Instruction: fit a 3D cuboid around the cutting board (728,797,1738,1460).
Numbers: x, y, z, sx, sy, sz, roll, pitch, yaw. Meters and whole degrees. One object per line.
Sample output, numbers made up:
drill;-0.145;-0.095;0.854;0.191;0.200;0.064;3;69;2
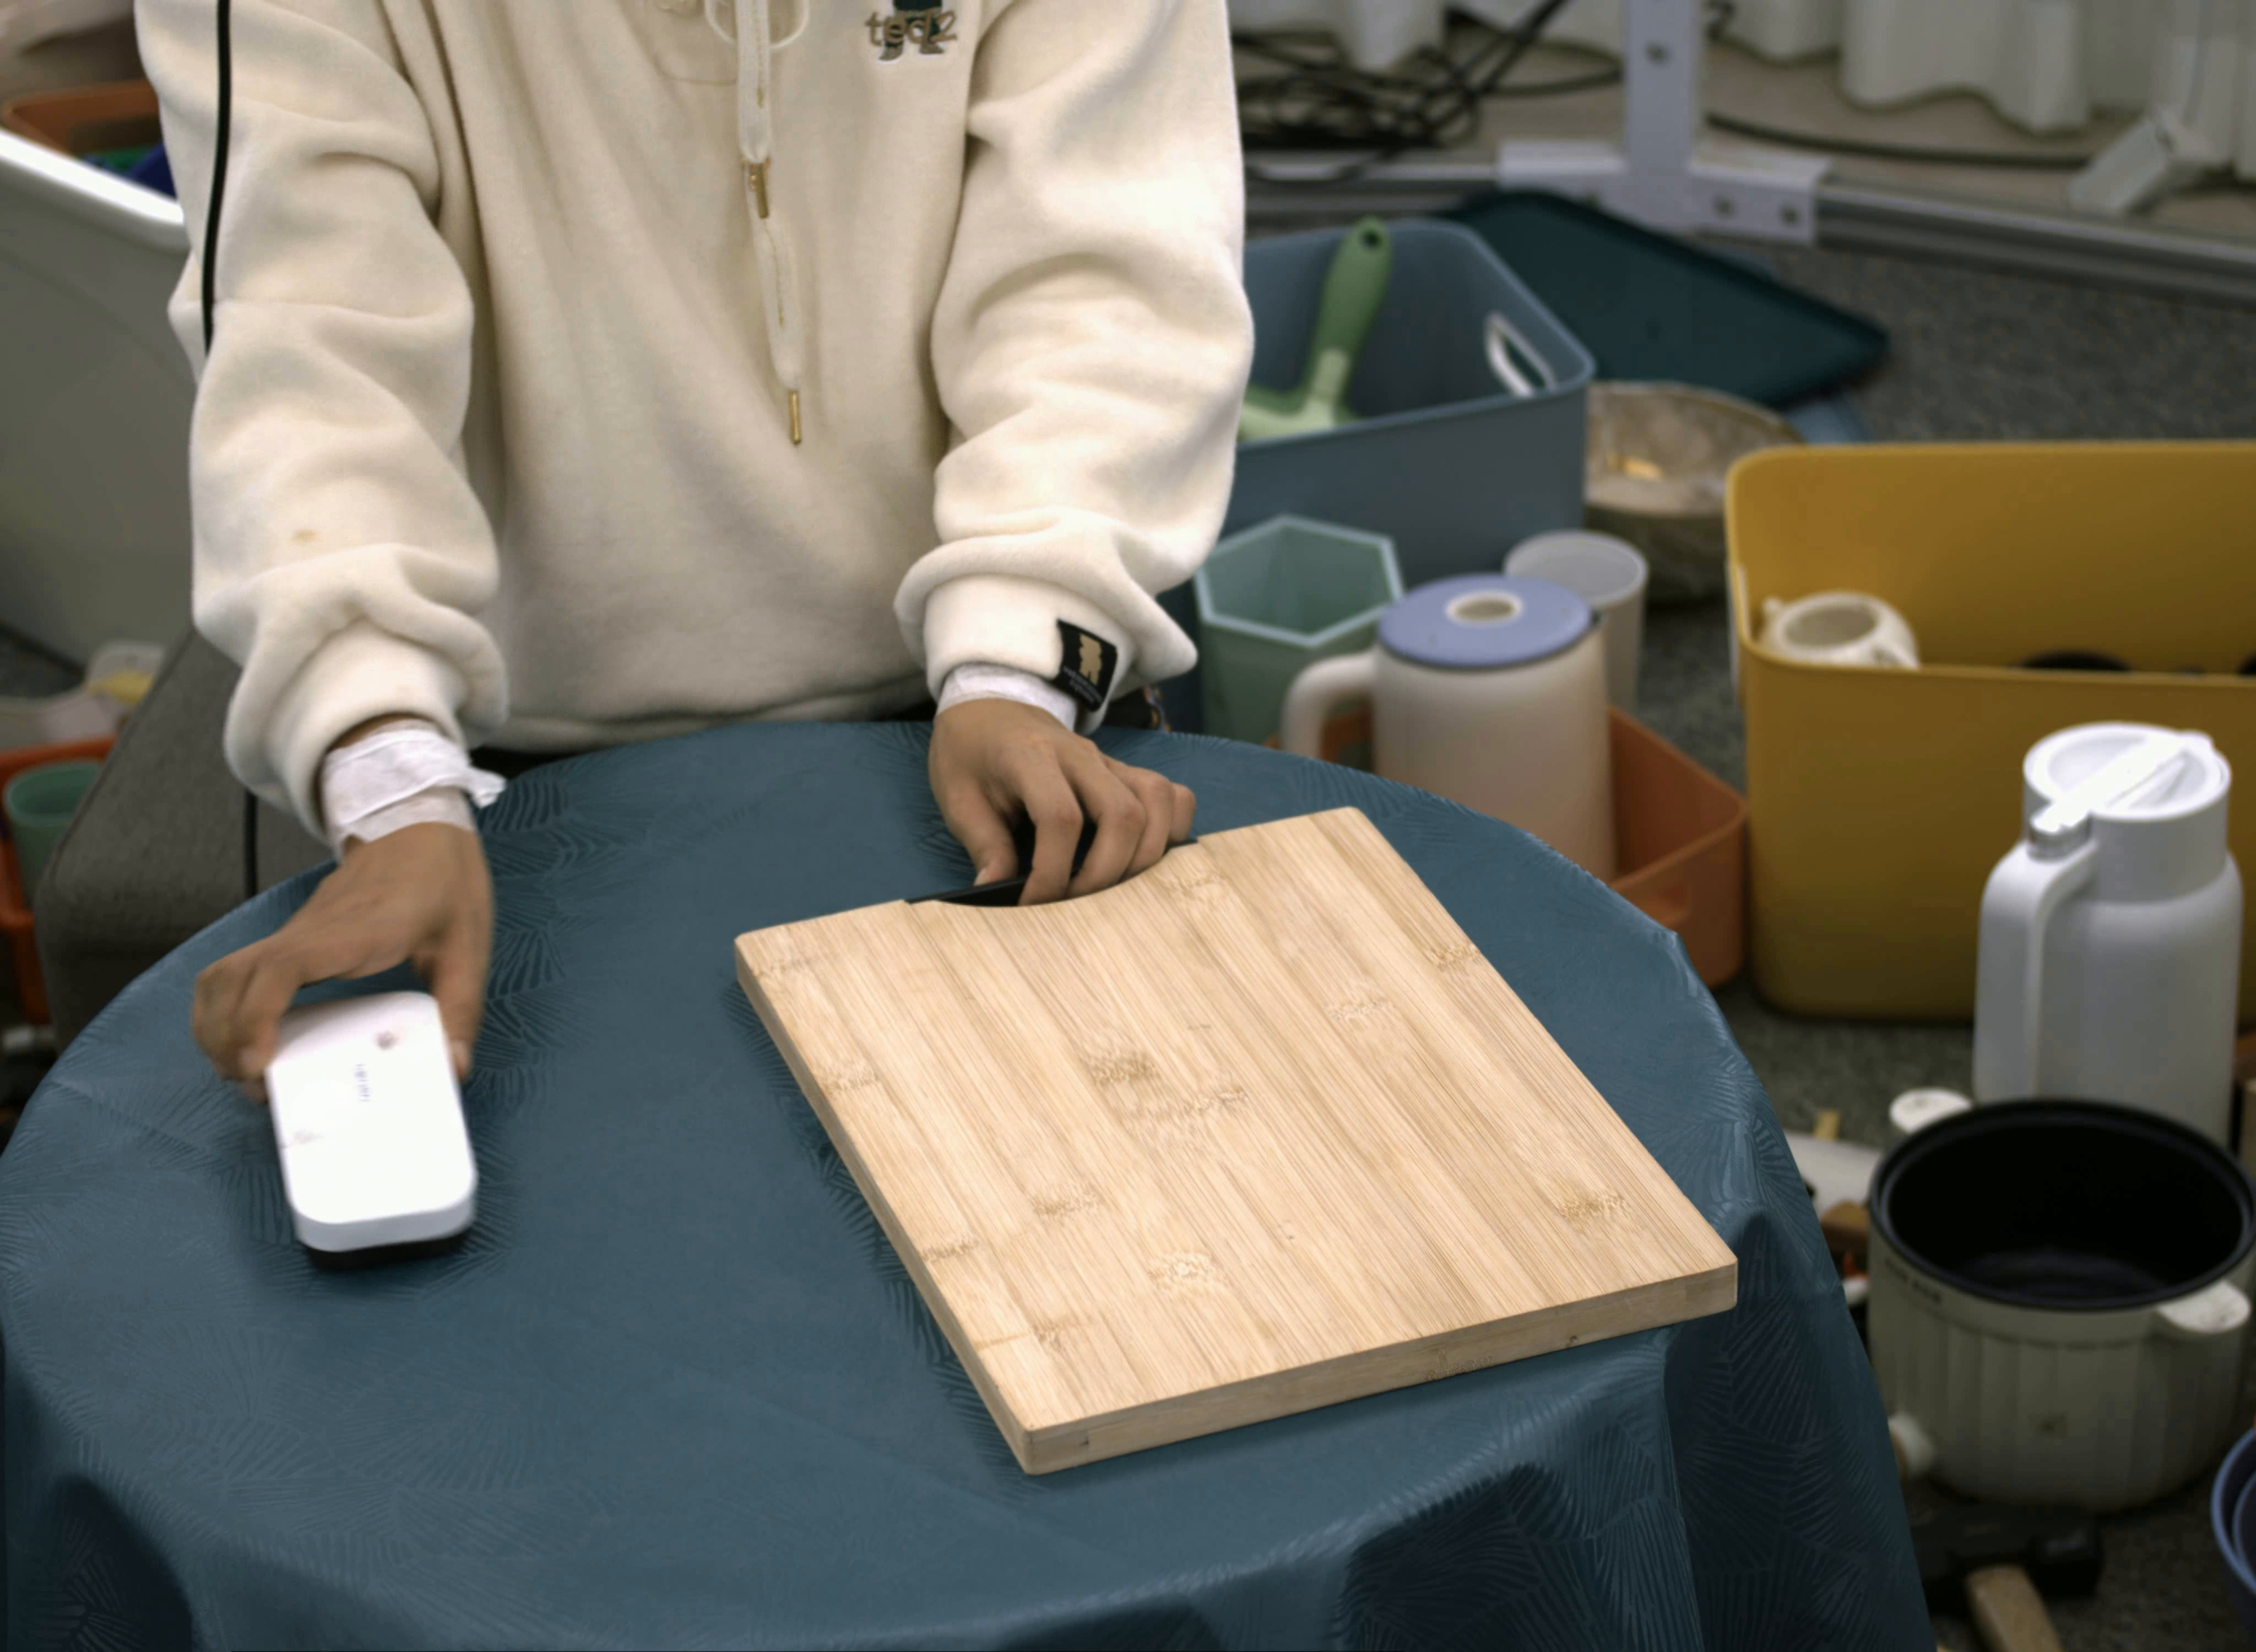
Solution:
cutting board;0.025;0.094;1.895;0.251;0.023;0.351;-12;29;-17

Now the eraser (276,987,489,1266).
eraser;-0.249;0.098;1.884;0.063;0.034;0.133;-6;33;-10
